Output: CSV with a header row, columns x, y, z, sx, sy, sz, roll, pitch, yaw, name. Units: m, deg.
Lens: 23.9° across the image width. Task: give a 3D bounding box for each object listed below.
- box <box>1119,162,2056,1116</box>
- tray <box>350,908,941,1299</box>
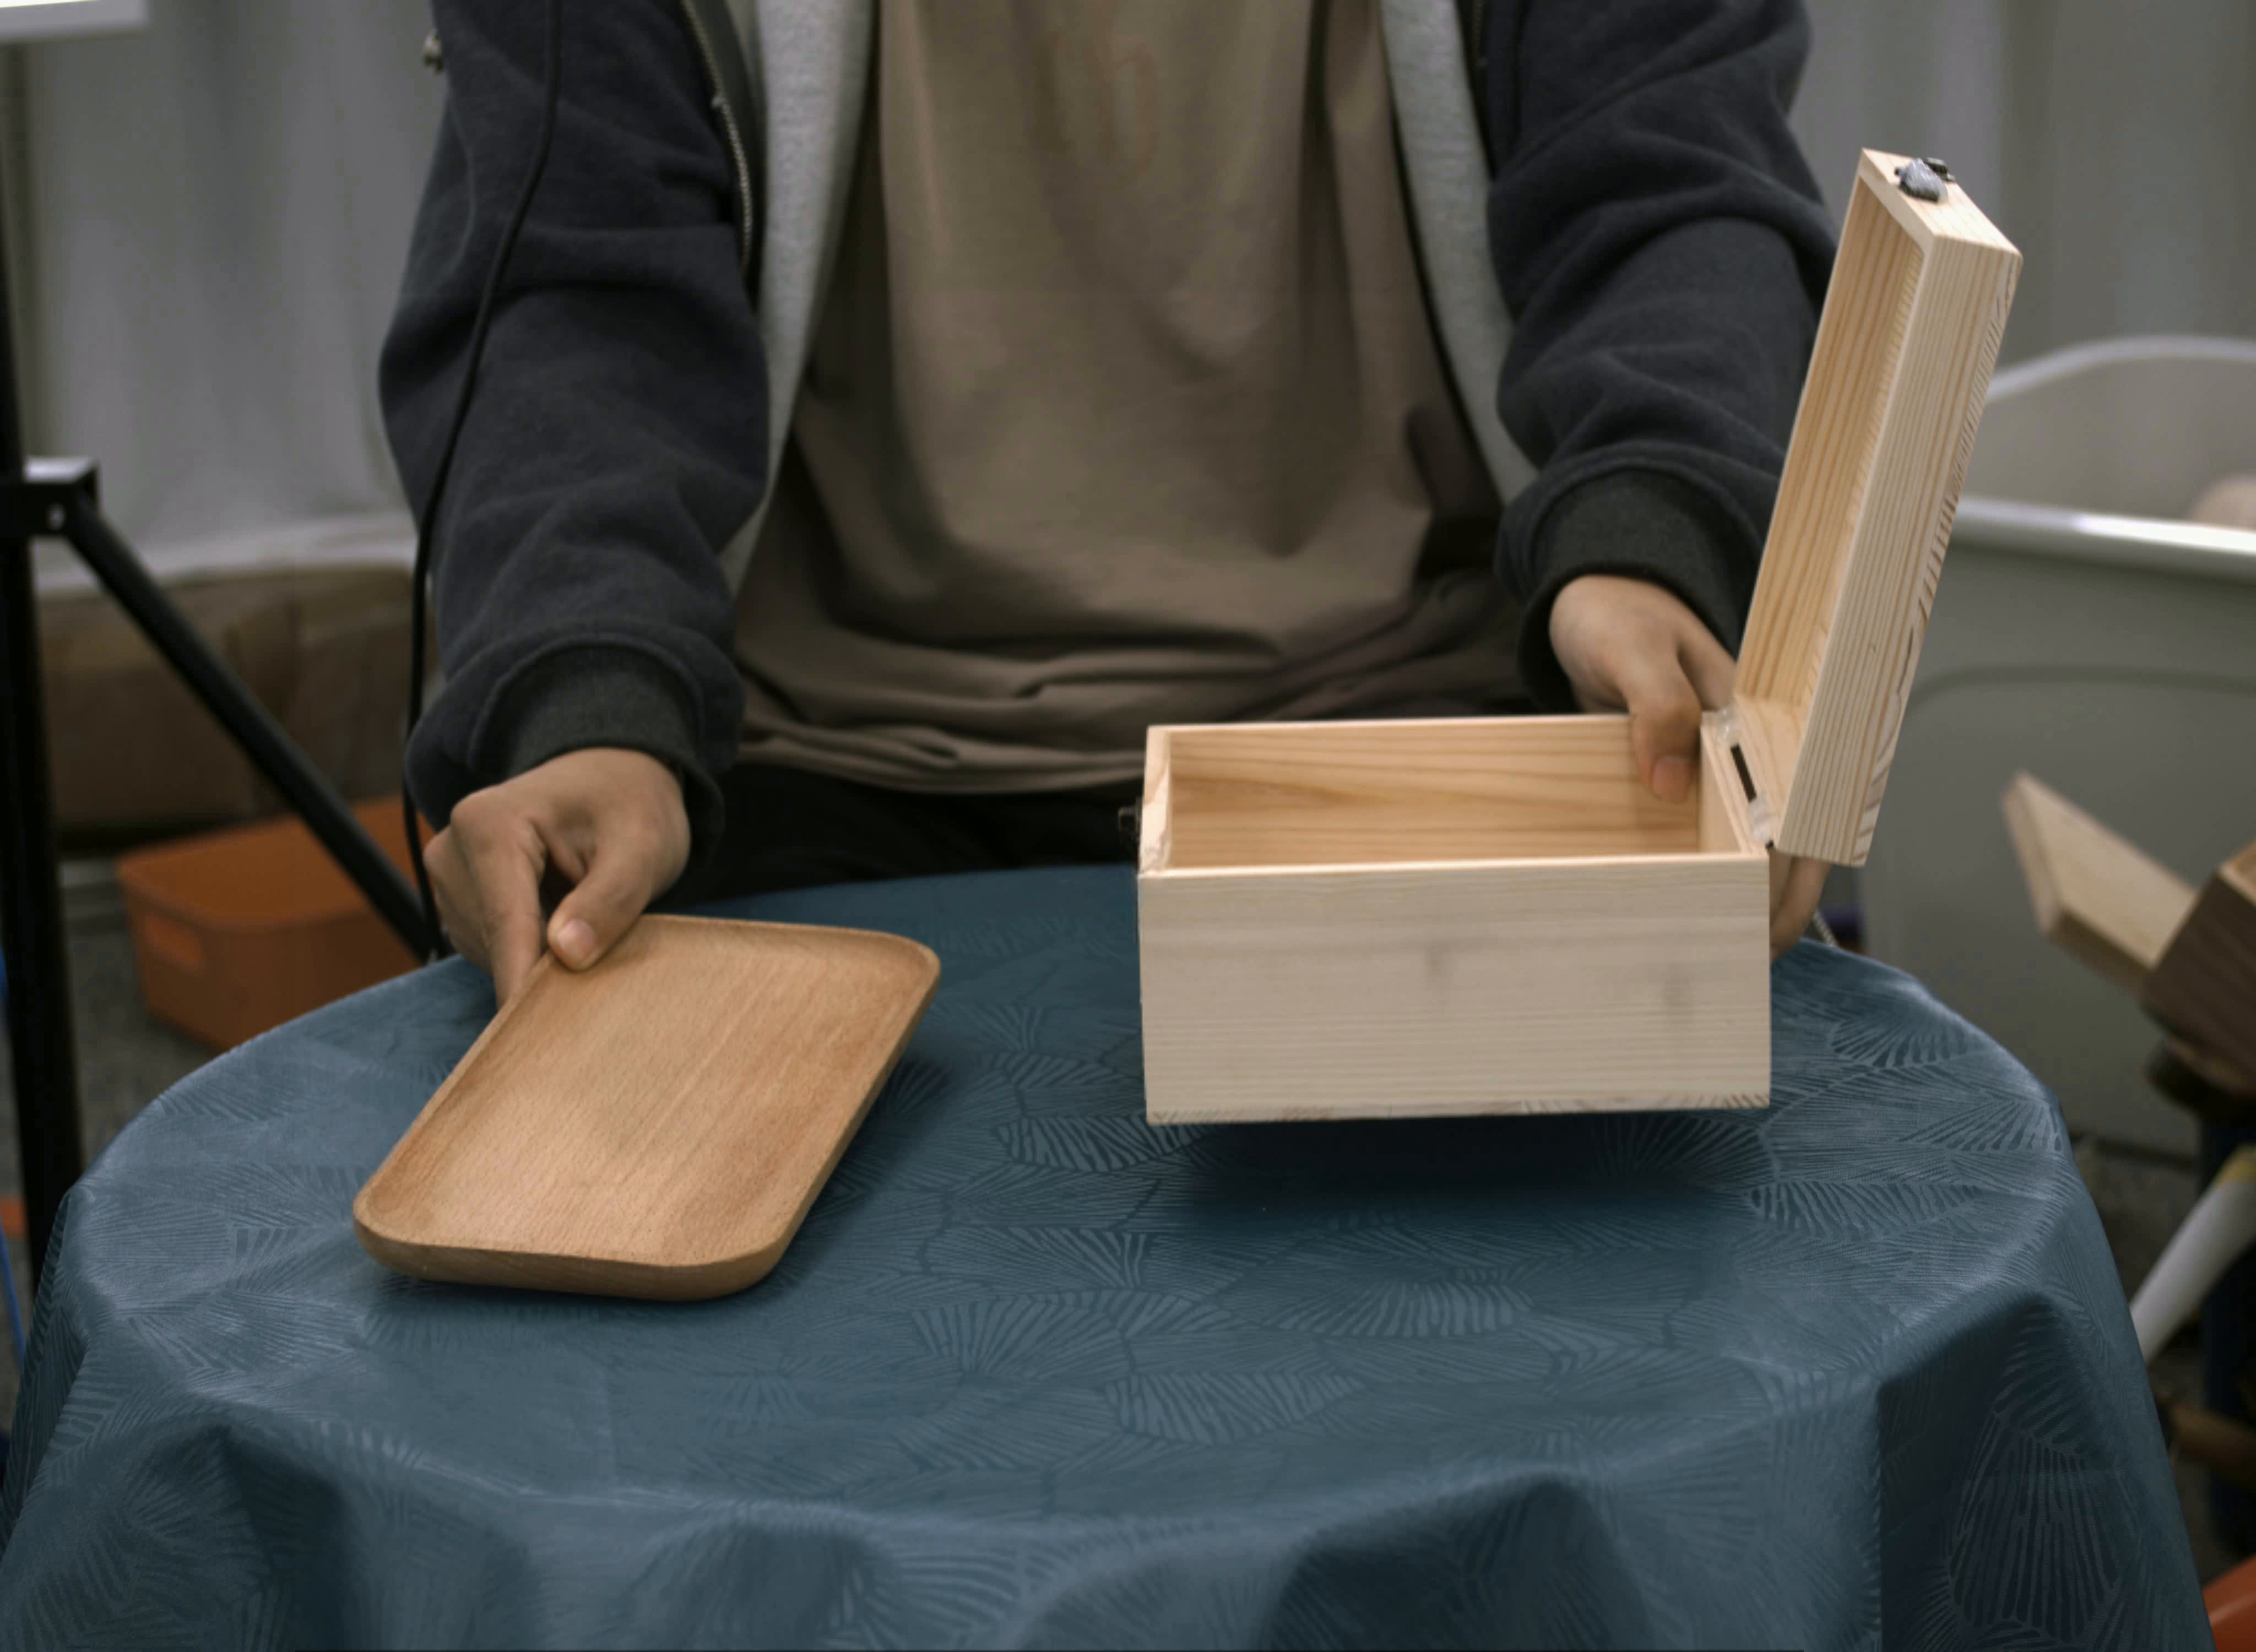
x,y,z,sx,sy,sz,roll,pitch,yaw,name
0.128,-0.060,1.576,0.264,0.253,0.182,0,11,2,box
-0.141,0.080,1.605,0.131,0.023,0.249,6,22,11,tray
